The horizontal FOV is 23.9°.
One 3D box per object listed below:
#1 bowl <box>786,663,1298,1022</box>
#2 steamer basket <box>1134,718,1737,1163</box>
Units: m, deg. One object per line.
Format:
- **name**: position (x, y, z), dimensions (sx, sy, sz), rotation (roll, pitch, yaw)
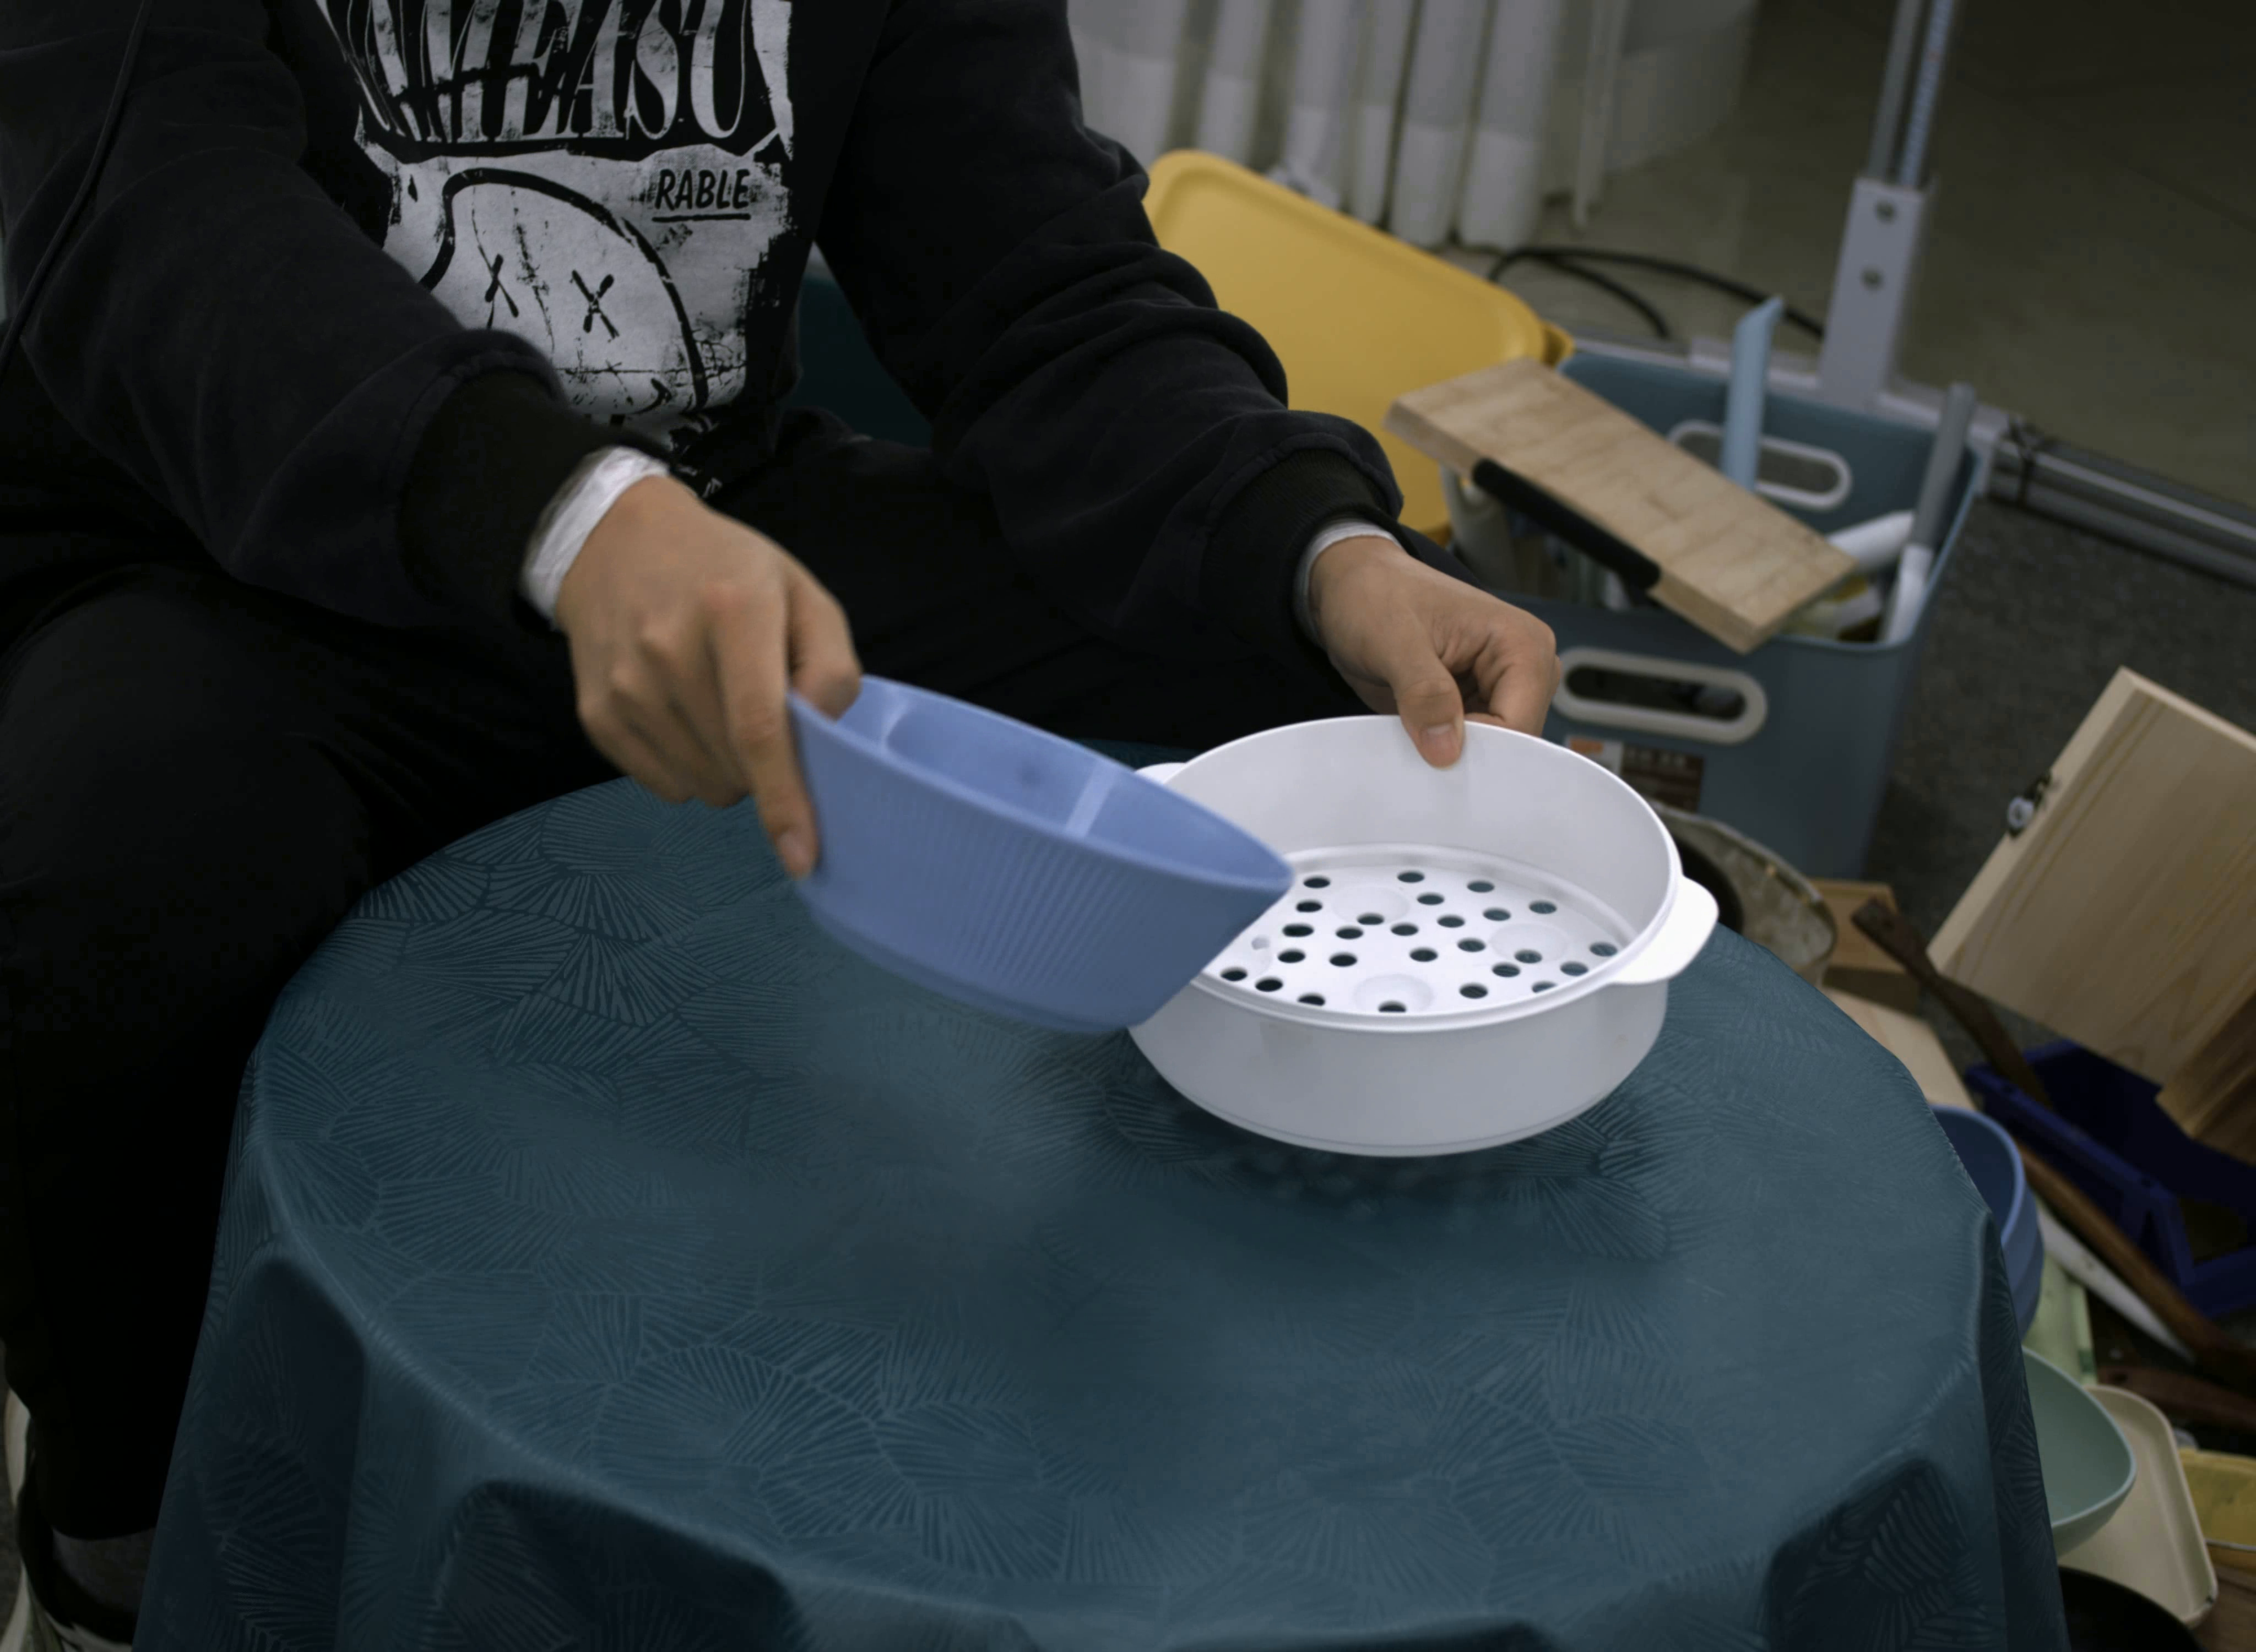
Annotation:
- **bowl**: position (-0.038, 0.010, 1.694), dimensions (0.175, 0.070, 0.176), rotation (22, 7, -3)
- **steamer basket**: position (0.098, 0.040, 1.863), dimensions (0.231, 0.069, 0.202), rotation (14, 35, 21)
